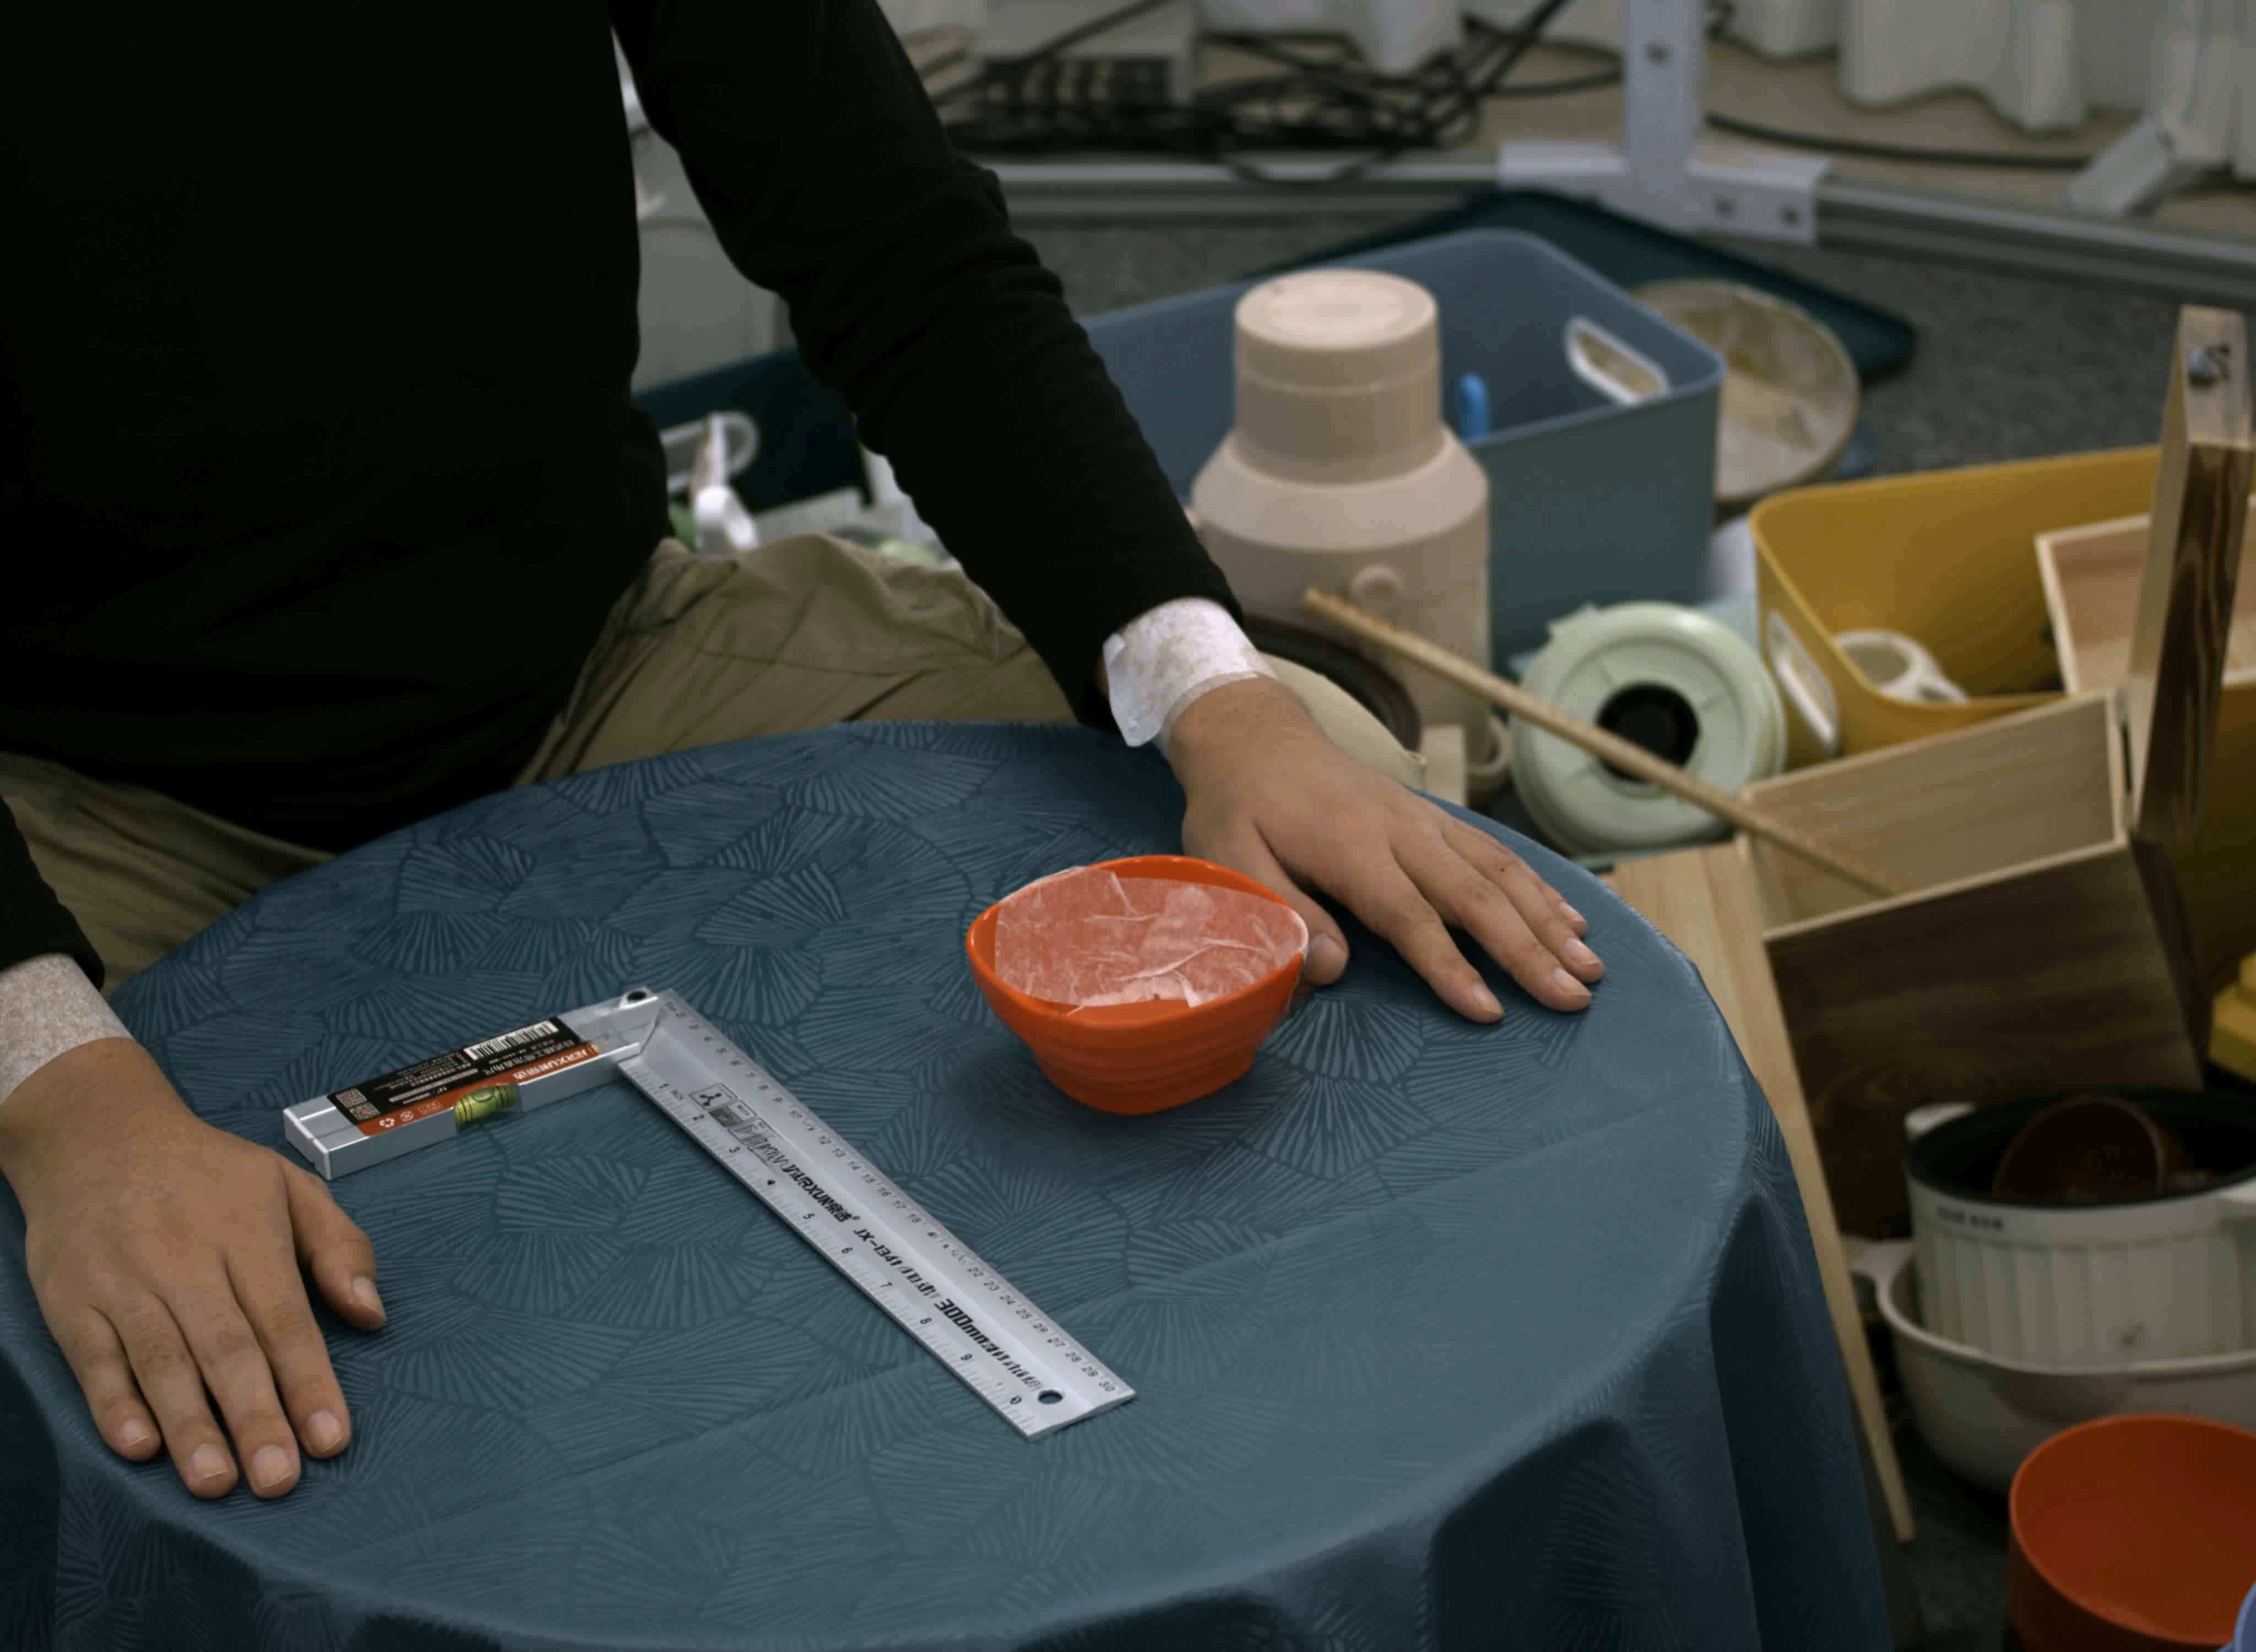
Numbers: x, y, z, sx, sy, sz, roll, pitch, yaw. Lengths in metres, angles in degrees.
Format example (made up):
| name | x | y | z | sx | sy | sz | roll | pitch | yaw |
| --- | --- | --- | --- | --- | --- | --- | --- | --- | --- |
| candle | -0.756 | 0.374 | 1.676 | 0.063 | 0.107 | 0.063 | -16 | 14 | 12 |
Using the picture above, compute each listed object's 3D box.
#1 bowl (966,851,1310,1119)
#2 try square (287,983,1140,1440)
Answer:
| name | x | y | z | sx | sy | sz | roll | pitch | yaw |
| --- | --- | --- | --- | --- | --- | --- | --- | --- | --- |
| bowl | 0.005 | 0.058 | 1.926 | 0.118 | 0.051 | 0.121 | -3 | 29 | 2 |
| try square | -0.142 | 0.141 | 1.835 | 0.153 | 0.016 | 0.314 | -22 | 34 | -25 |
